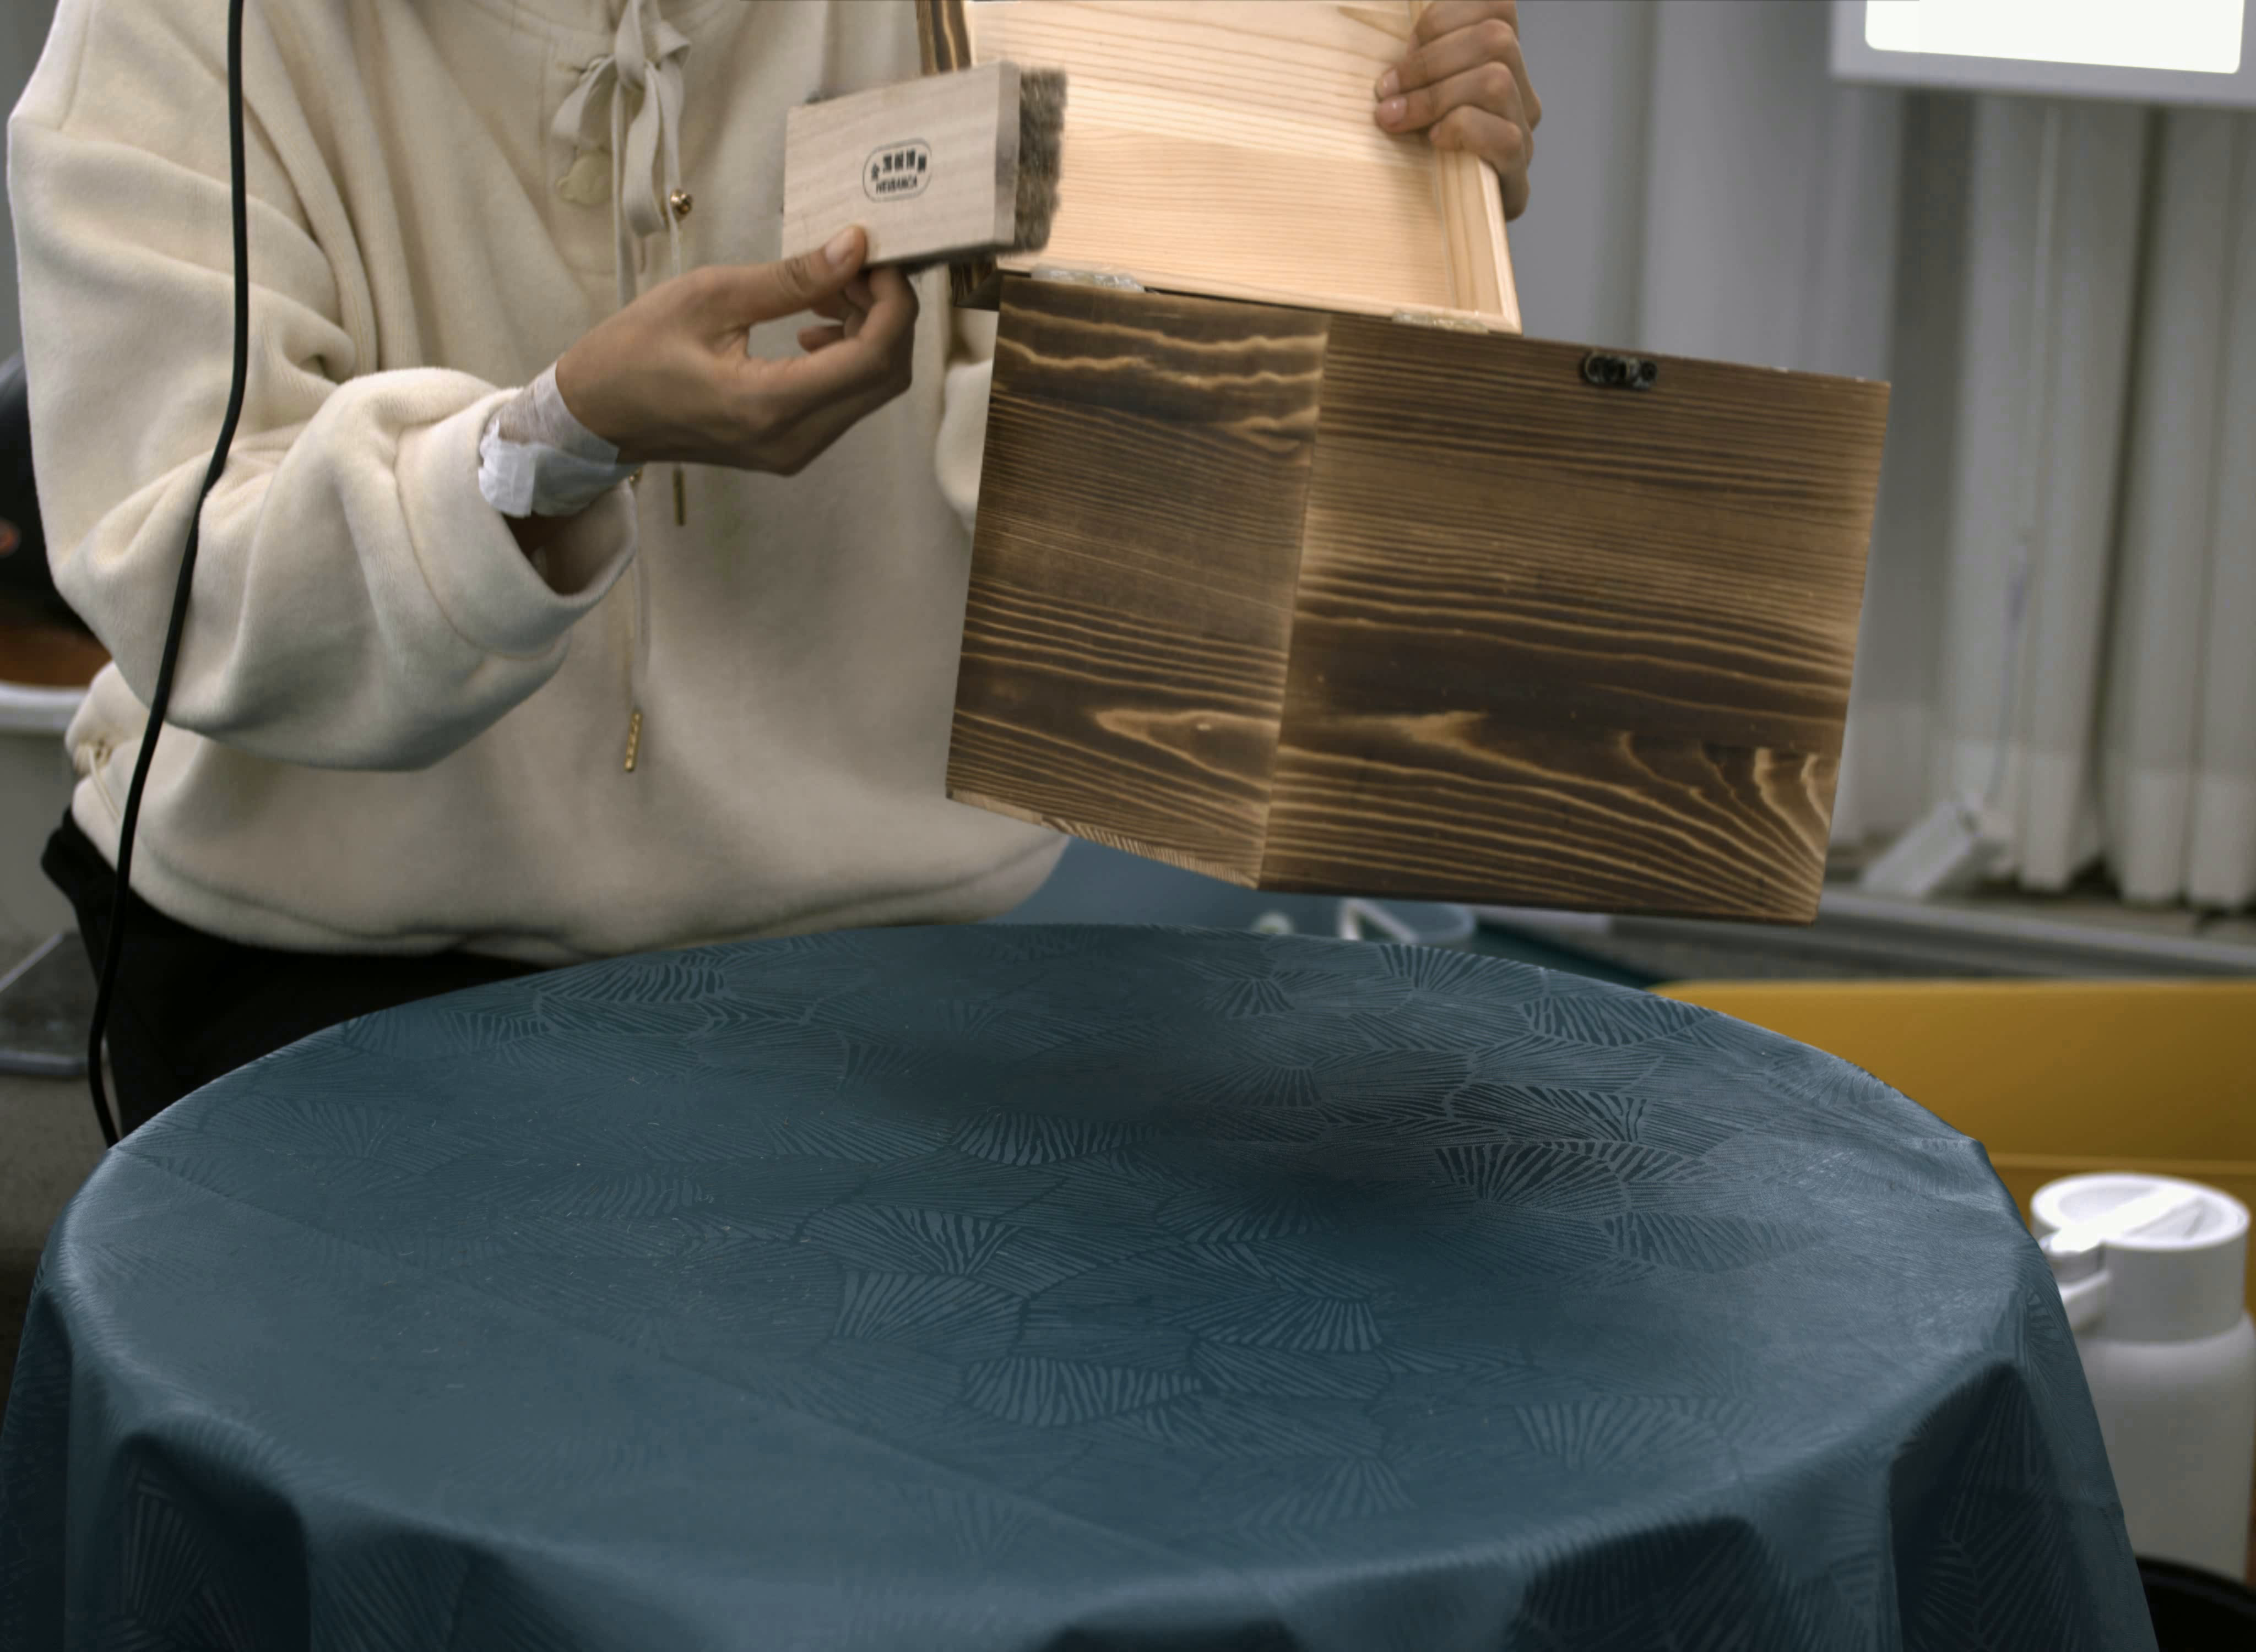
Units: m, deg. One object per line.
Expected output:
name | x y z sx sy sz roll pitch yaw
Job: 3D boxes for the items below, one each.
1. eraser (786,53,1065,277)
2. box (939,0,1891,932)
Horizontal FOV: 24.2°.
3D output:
eraser | -0.066 -0.211 1.684 0.029 0.057 0.138 3 -1 -30
box | 0.071 -0.176 1.666 0.210 0.377 0.318 2 8 -31
